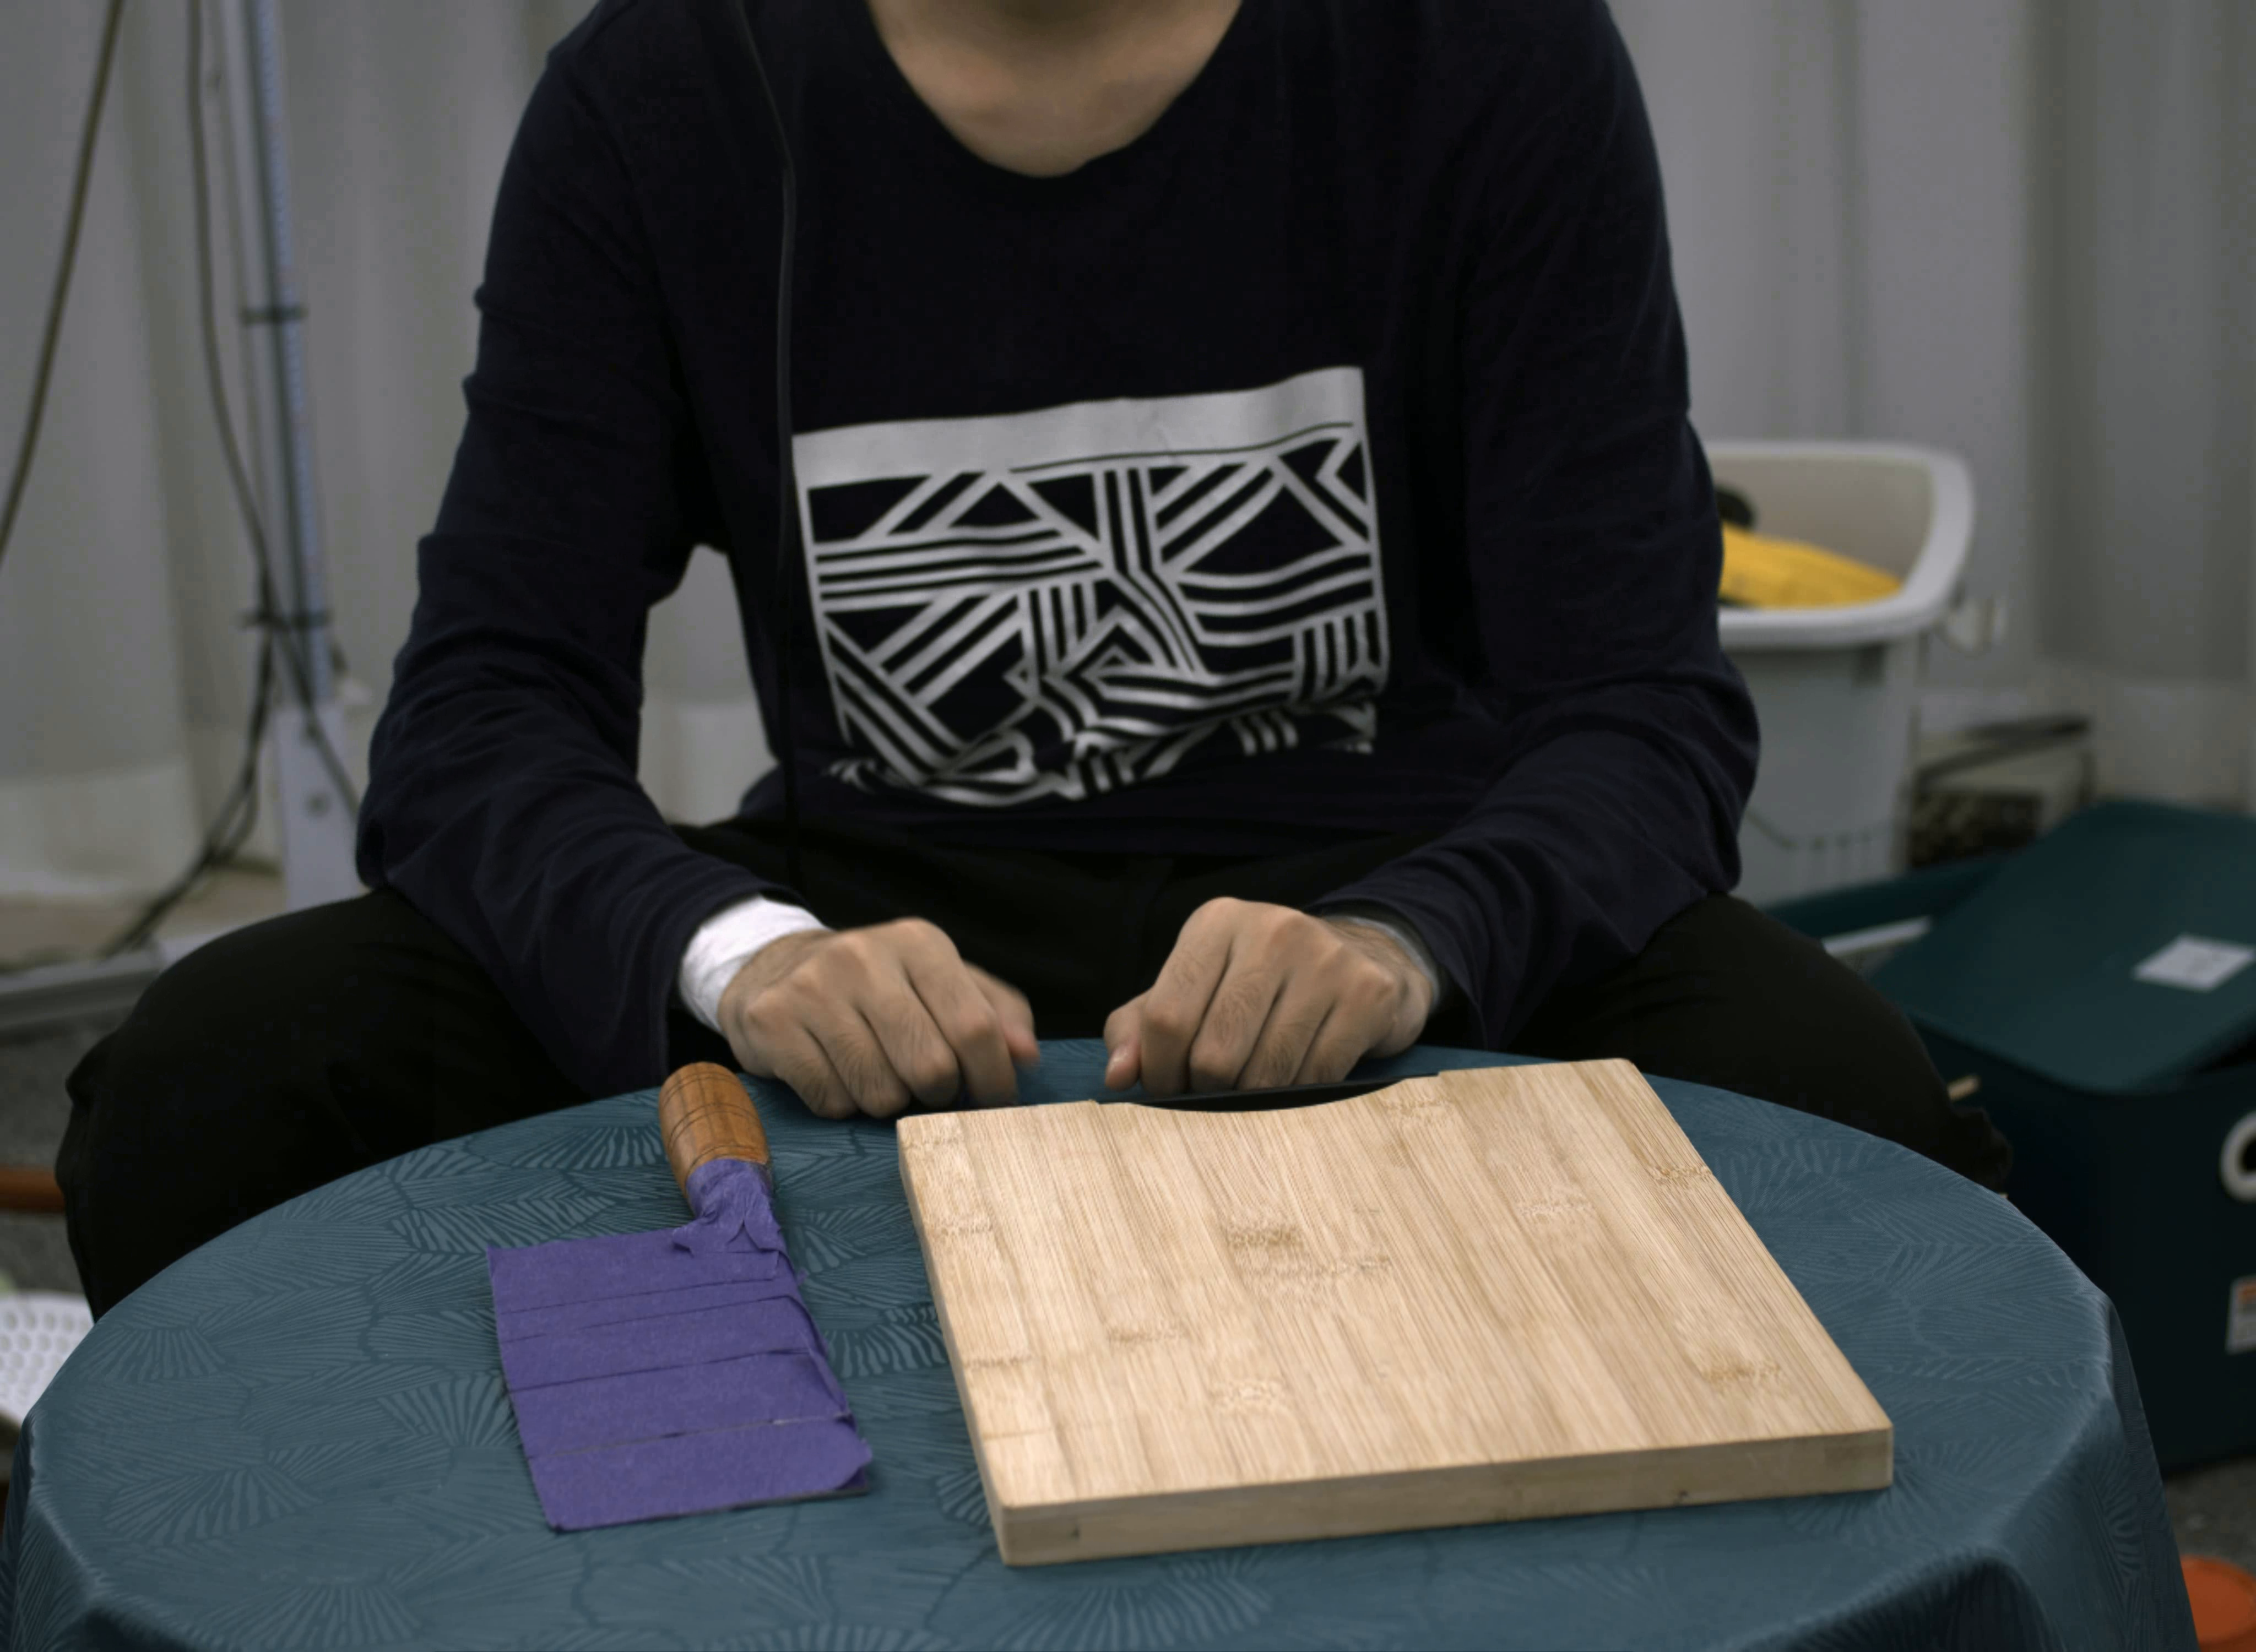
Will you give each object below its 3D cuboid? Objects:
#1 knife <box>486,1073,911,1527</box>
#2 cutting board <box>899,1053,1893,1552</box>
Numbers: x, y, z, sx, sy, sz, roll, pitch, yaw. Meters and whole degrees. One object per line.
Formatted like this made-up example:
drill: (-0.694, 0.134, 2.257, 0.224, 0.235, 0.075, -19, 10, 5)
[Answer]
knife: (-0.140, 0.135, 1.613, 0.103, 0.032, 0.318, -5, 15, -11)
cutting board: (0.065, 0.134, 1.601, 0.250, 0.023, 0.351, -4, 15, -6)
